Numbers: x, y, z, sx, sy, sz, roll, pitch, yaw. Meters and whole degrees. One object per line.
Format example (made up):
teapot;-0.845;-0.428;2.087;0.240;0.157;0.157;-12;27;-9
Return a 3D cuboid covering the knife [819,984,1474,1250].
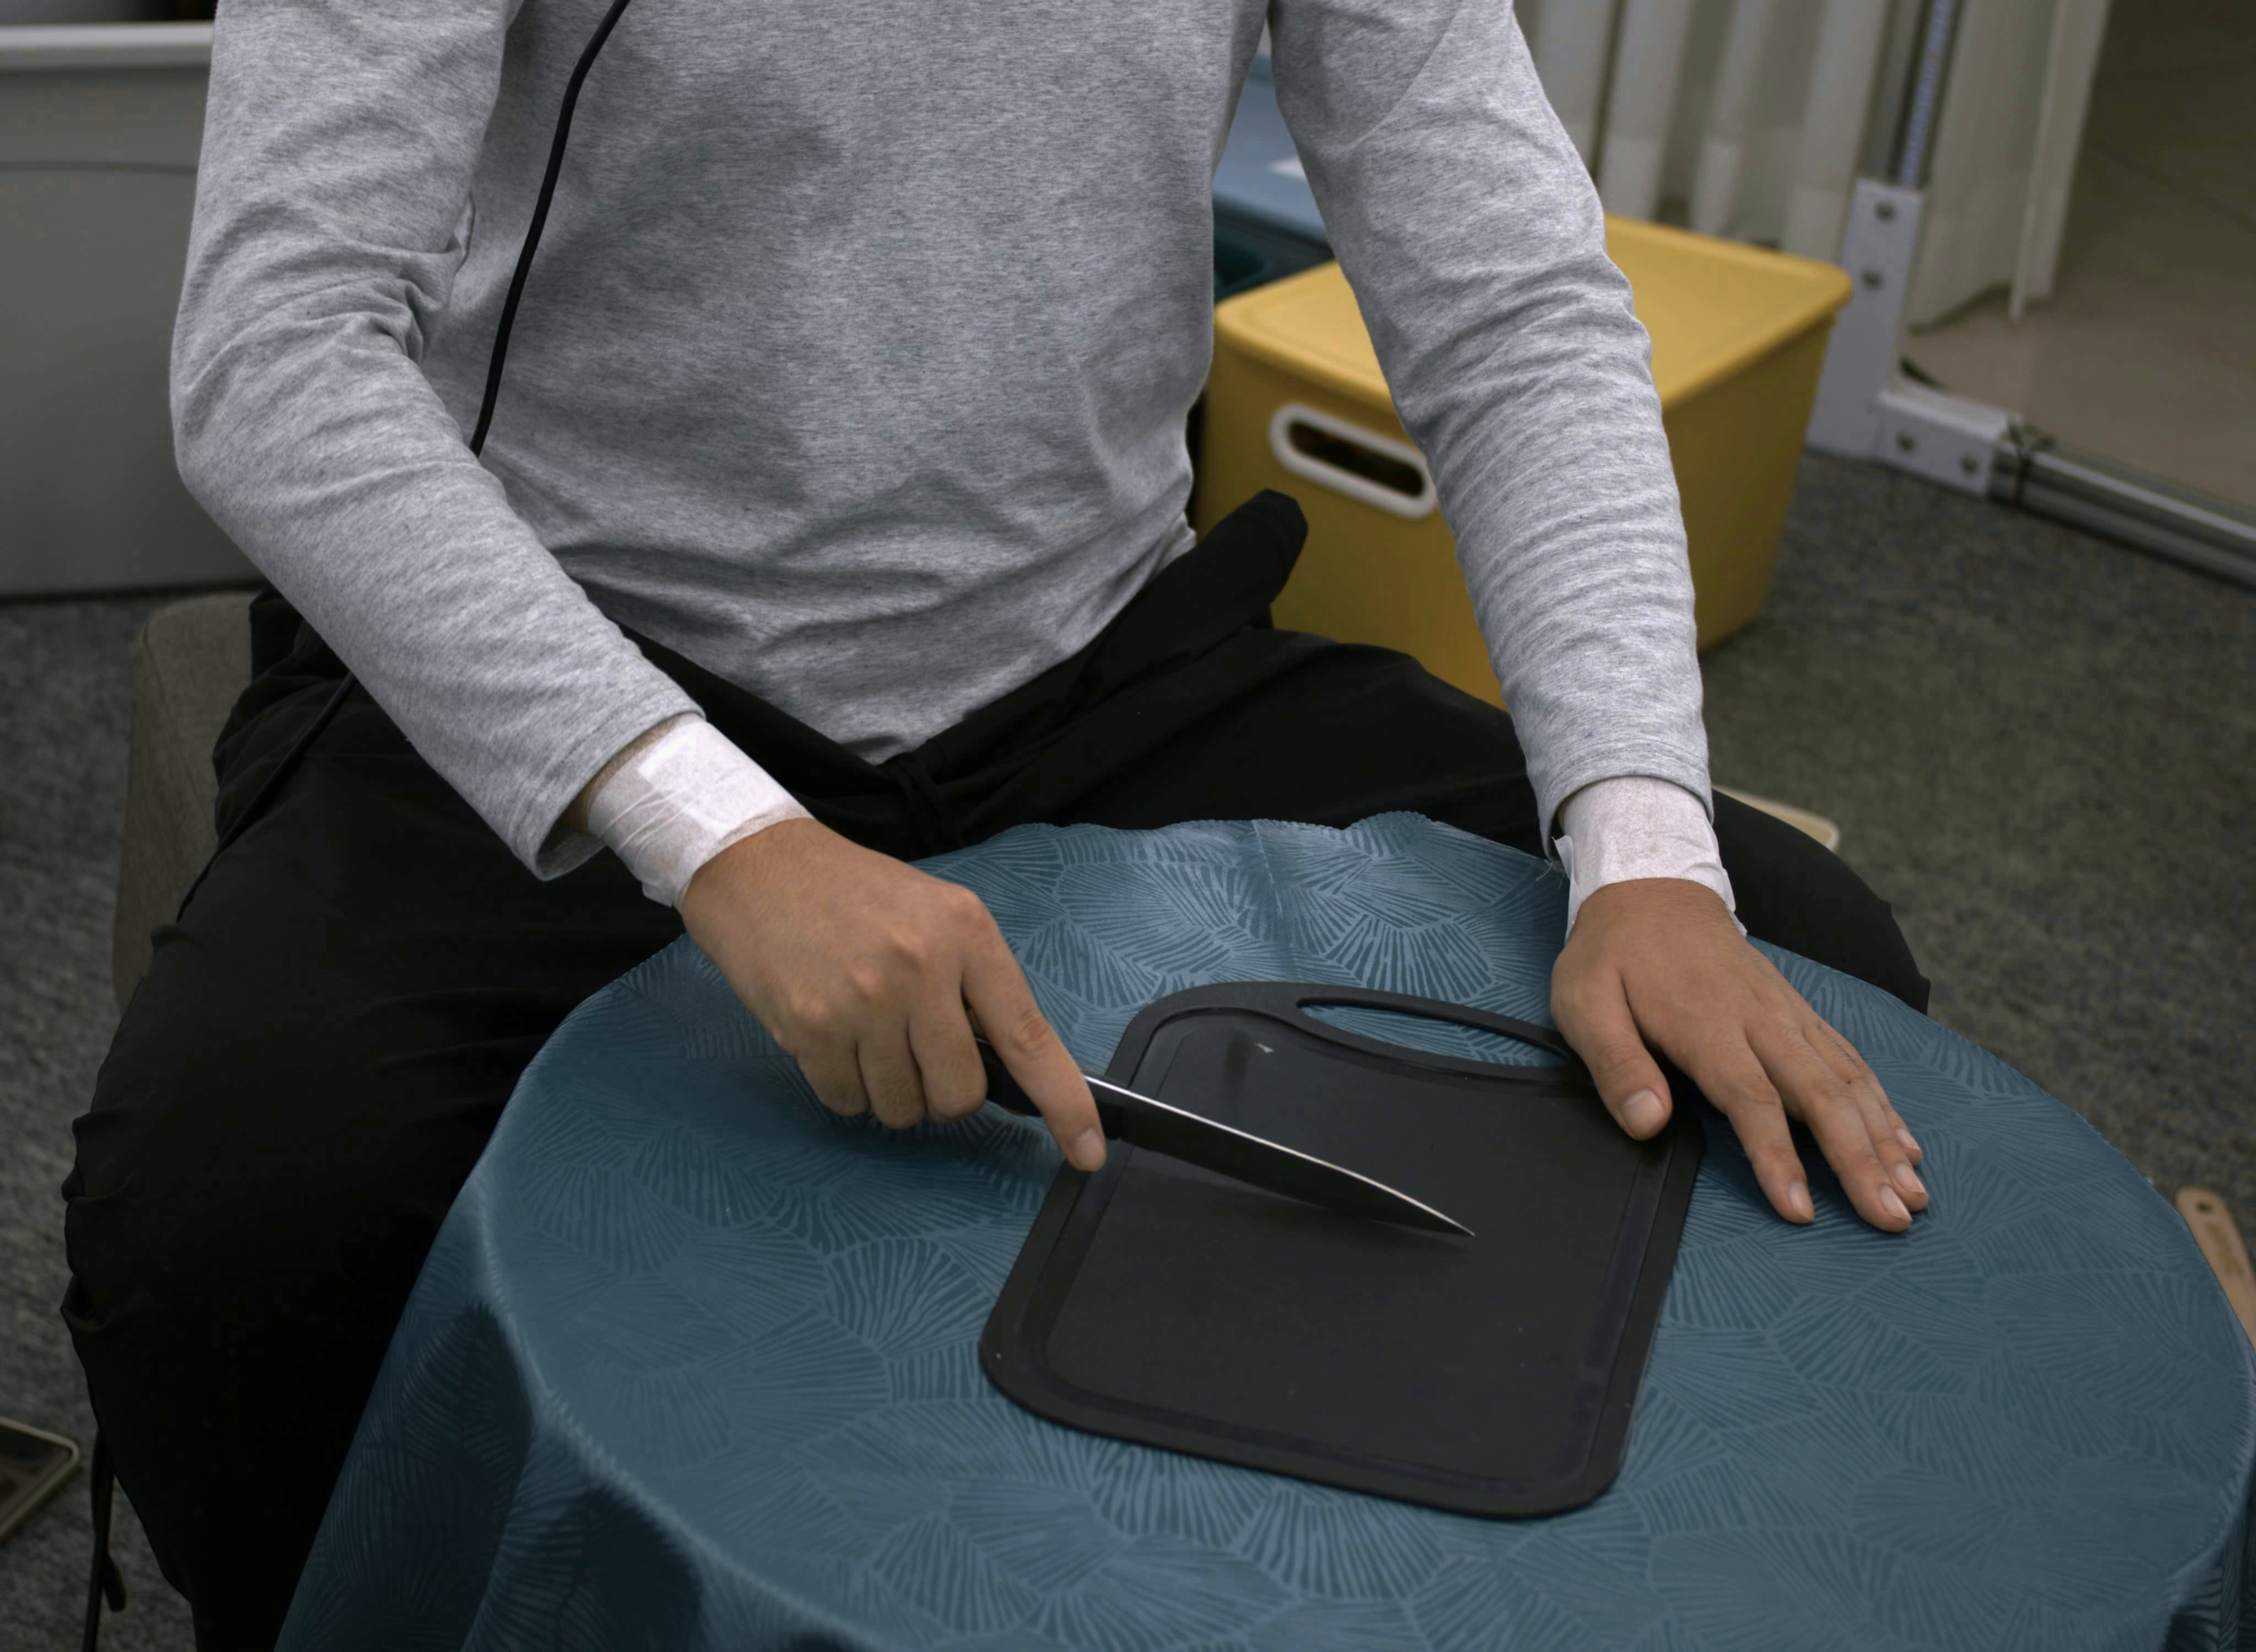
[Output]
knife;0.007;0.100;1.807;0.238;0.024;0.016;20;44;8

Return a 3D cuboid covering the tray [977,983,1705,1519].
tray;0.079;0.132;1.801;0.211;0.010;0.326;11;27;9
